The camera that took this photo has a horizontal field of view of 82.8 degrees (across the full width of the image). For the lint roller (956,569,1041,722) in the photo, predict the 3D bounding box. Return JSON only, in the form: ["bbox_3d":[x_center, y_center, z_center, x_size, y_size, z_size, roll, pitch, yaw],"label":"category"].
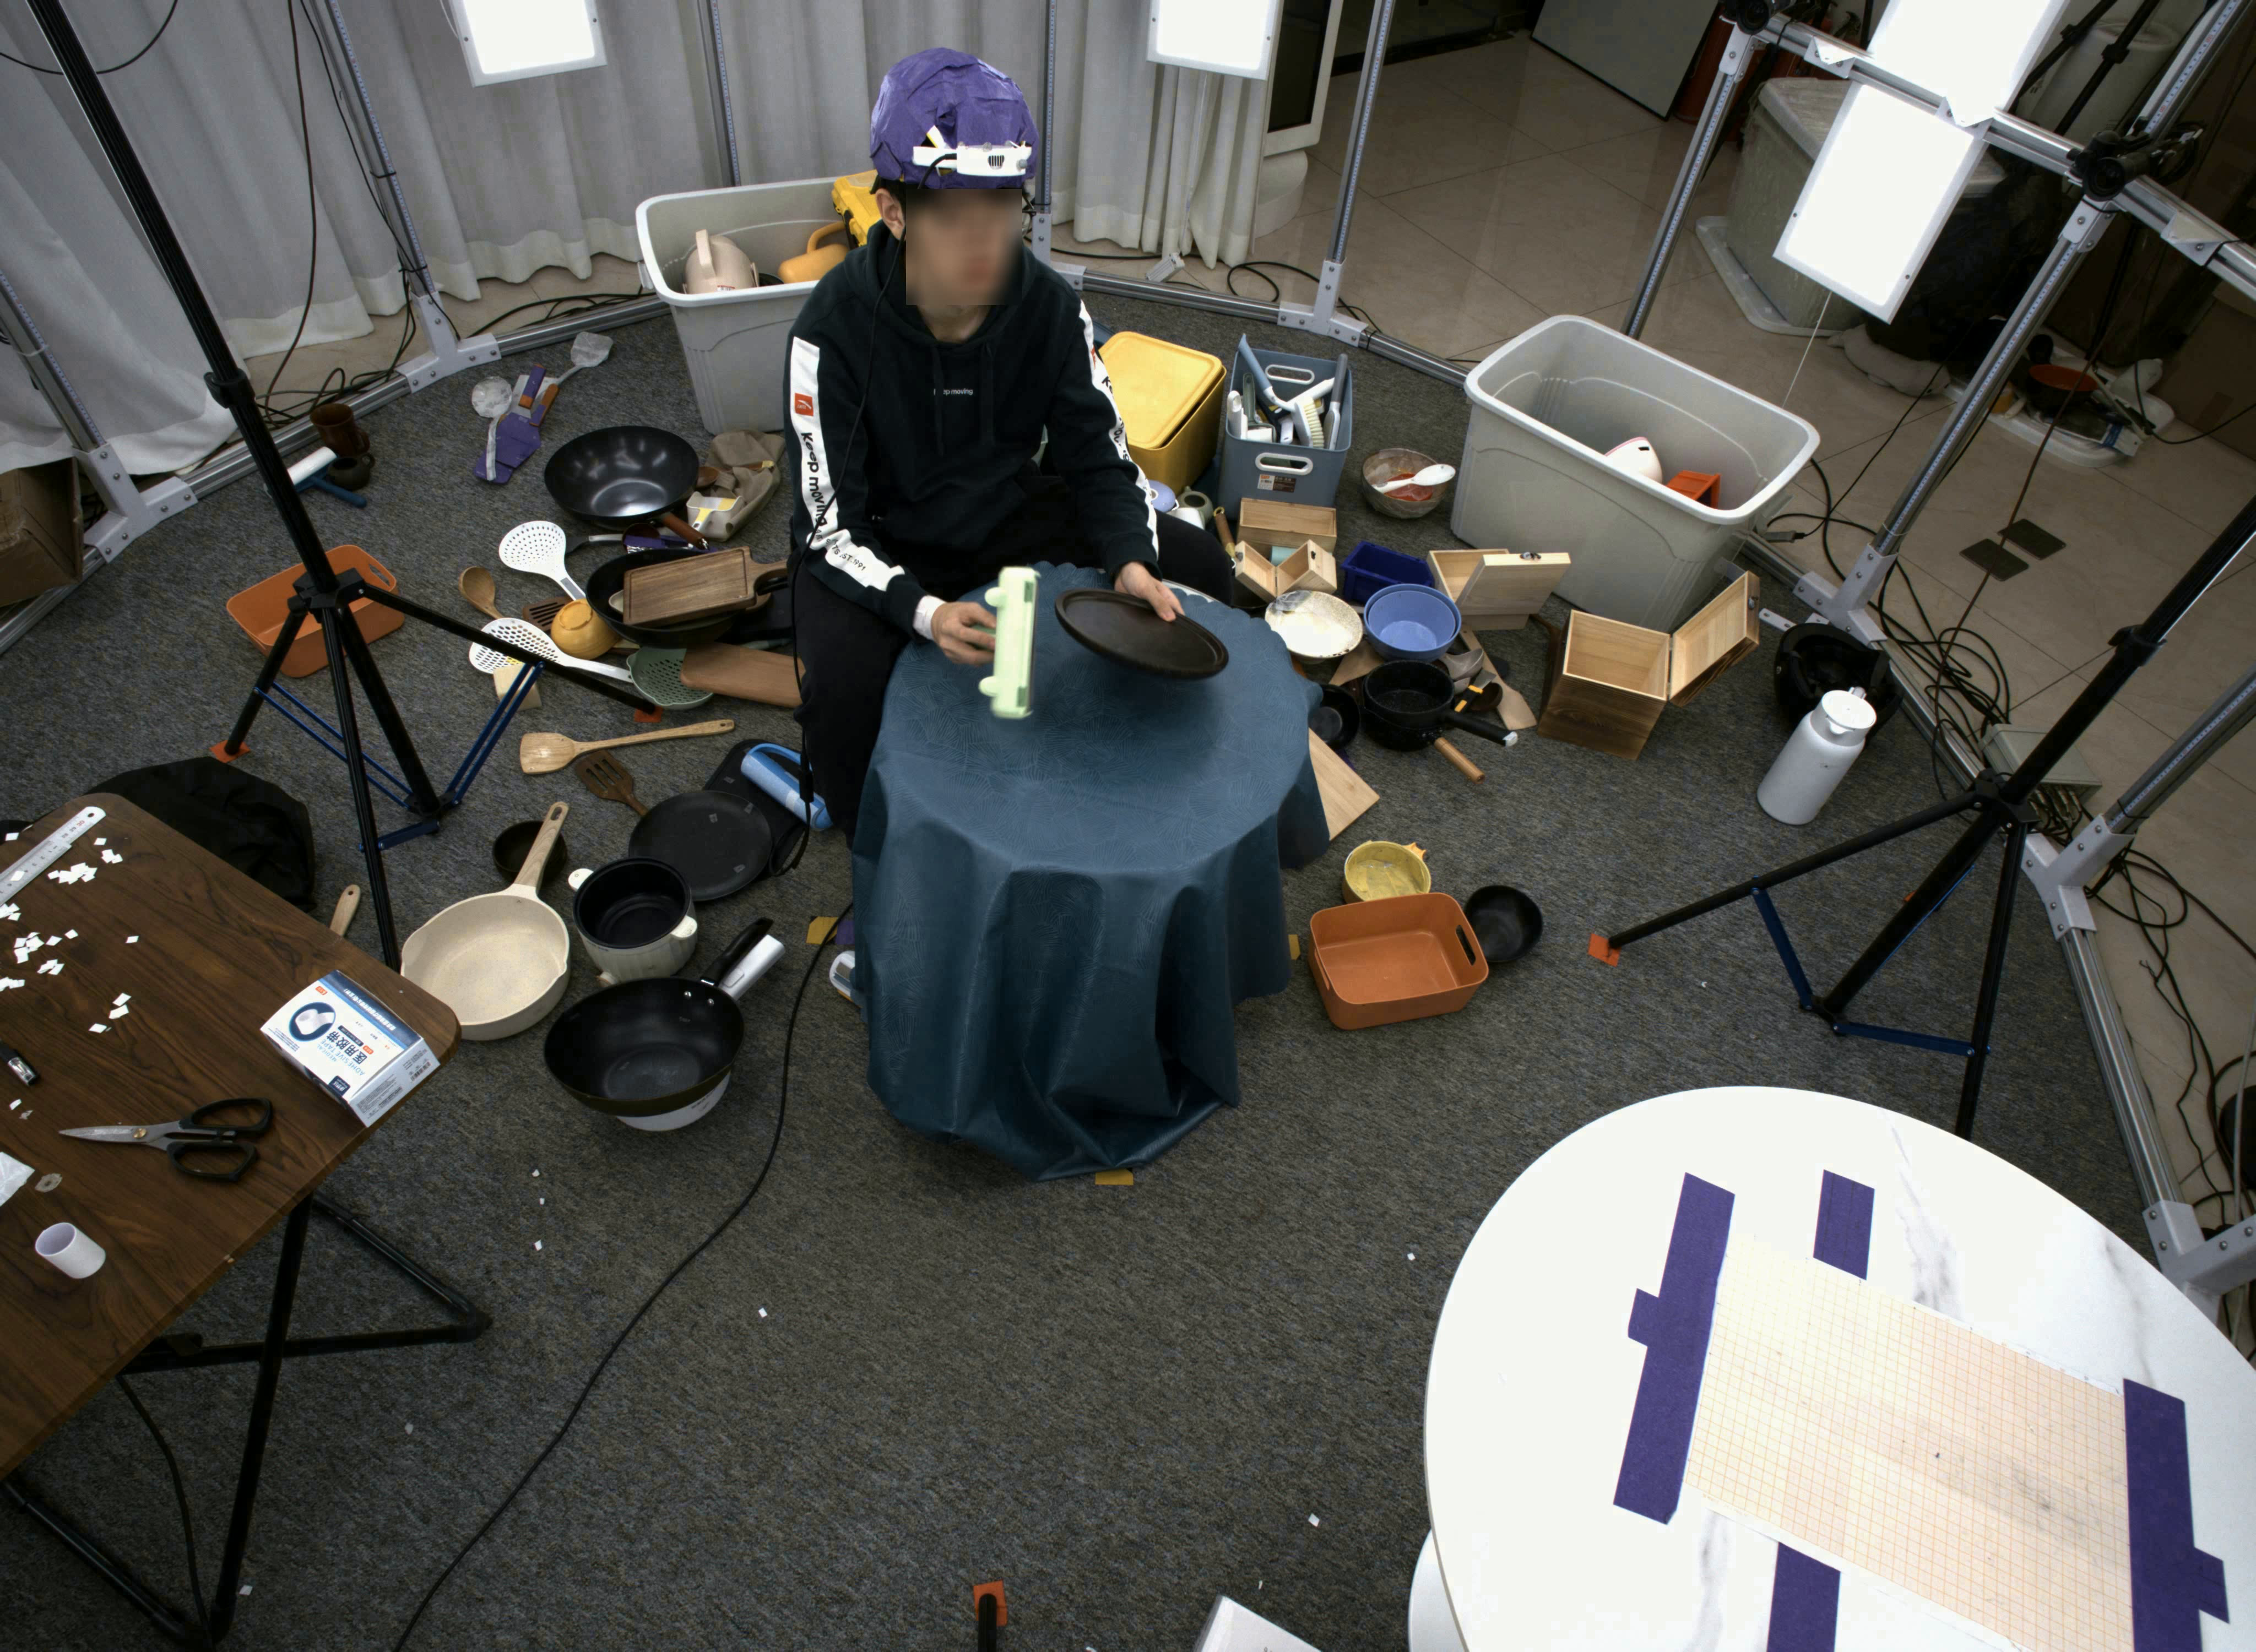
[{"bbox_3d":[-0.193,-0.248,1.725,0.185,0.197,0.082,14,10,43],"label":"lint roller"}]

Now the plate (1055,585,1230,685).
[{"bbox_3d":[0.020,-0.262,1.776,0.254,0.028,0.260,15,30,-8],"label":"plate"}]
